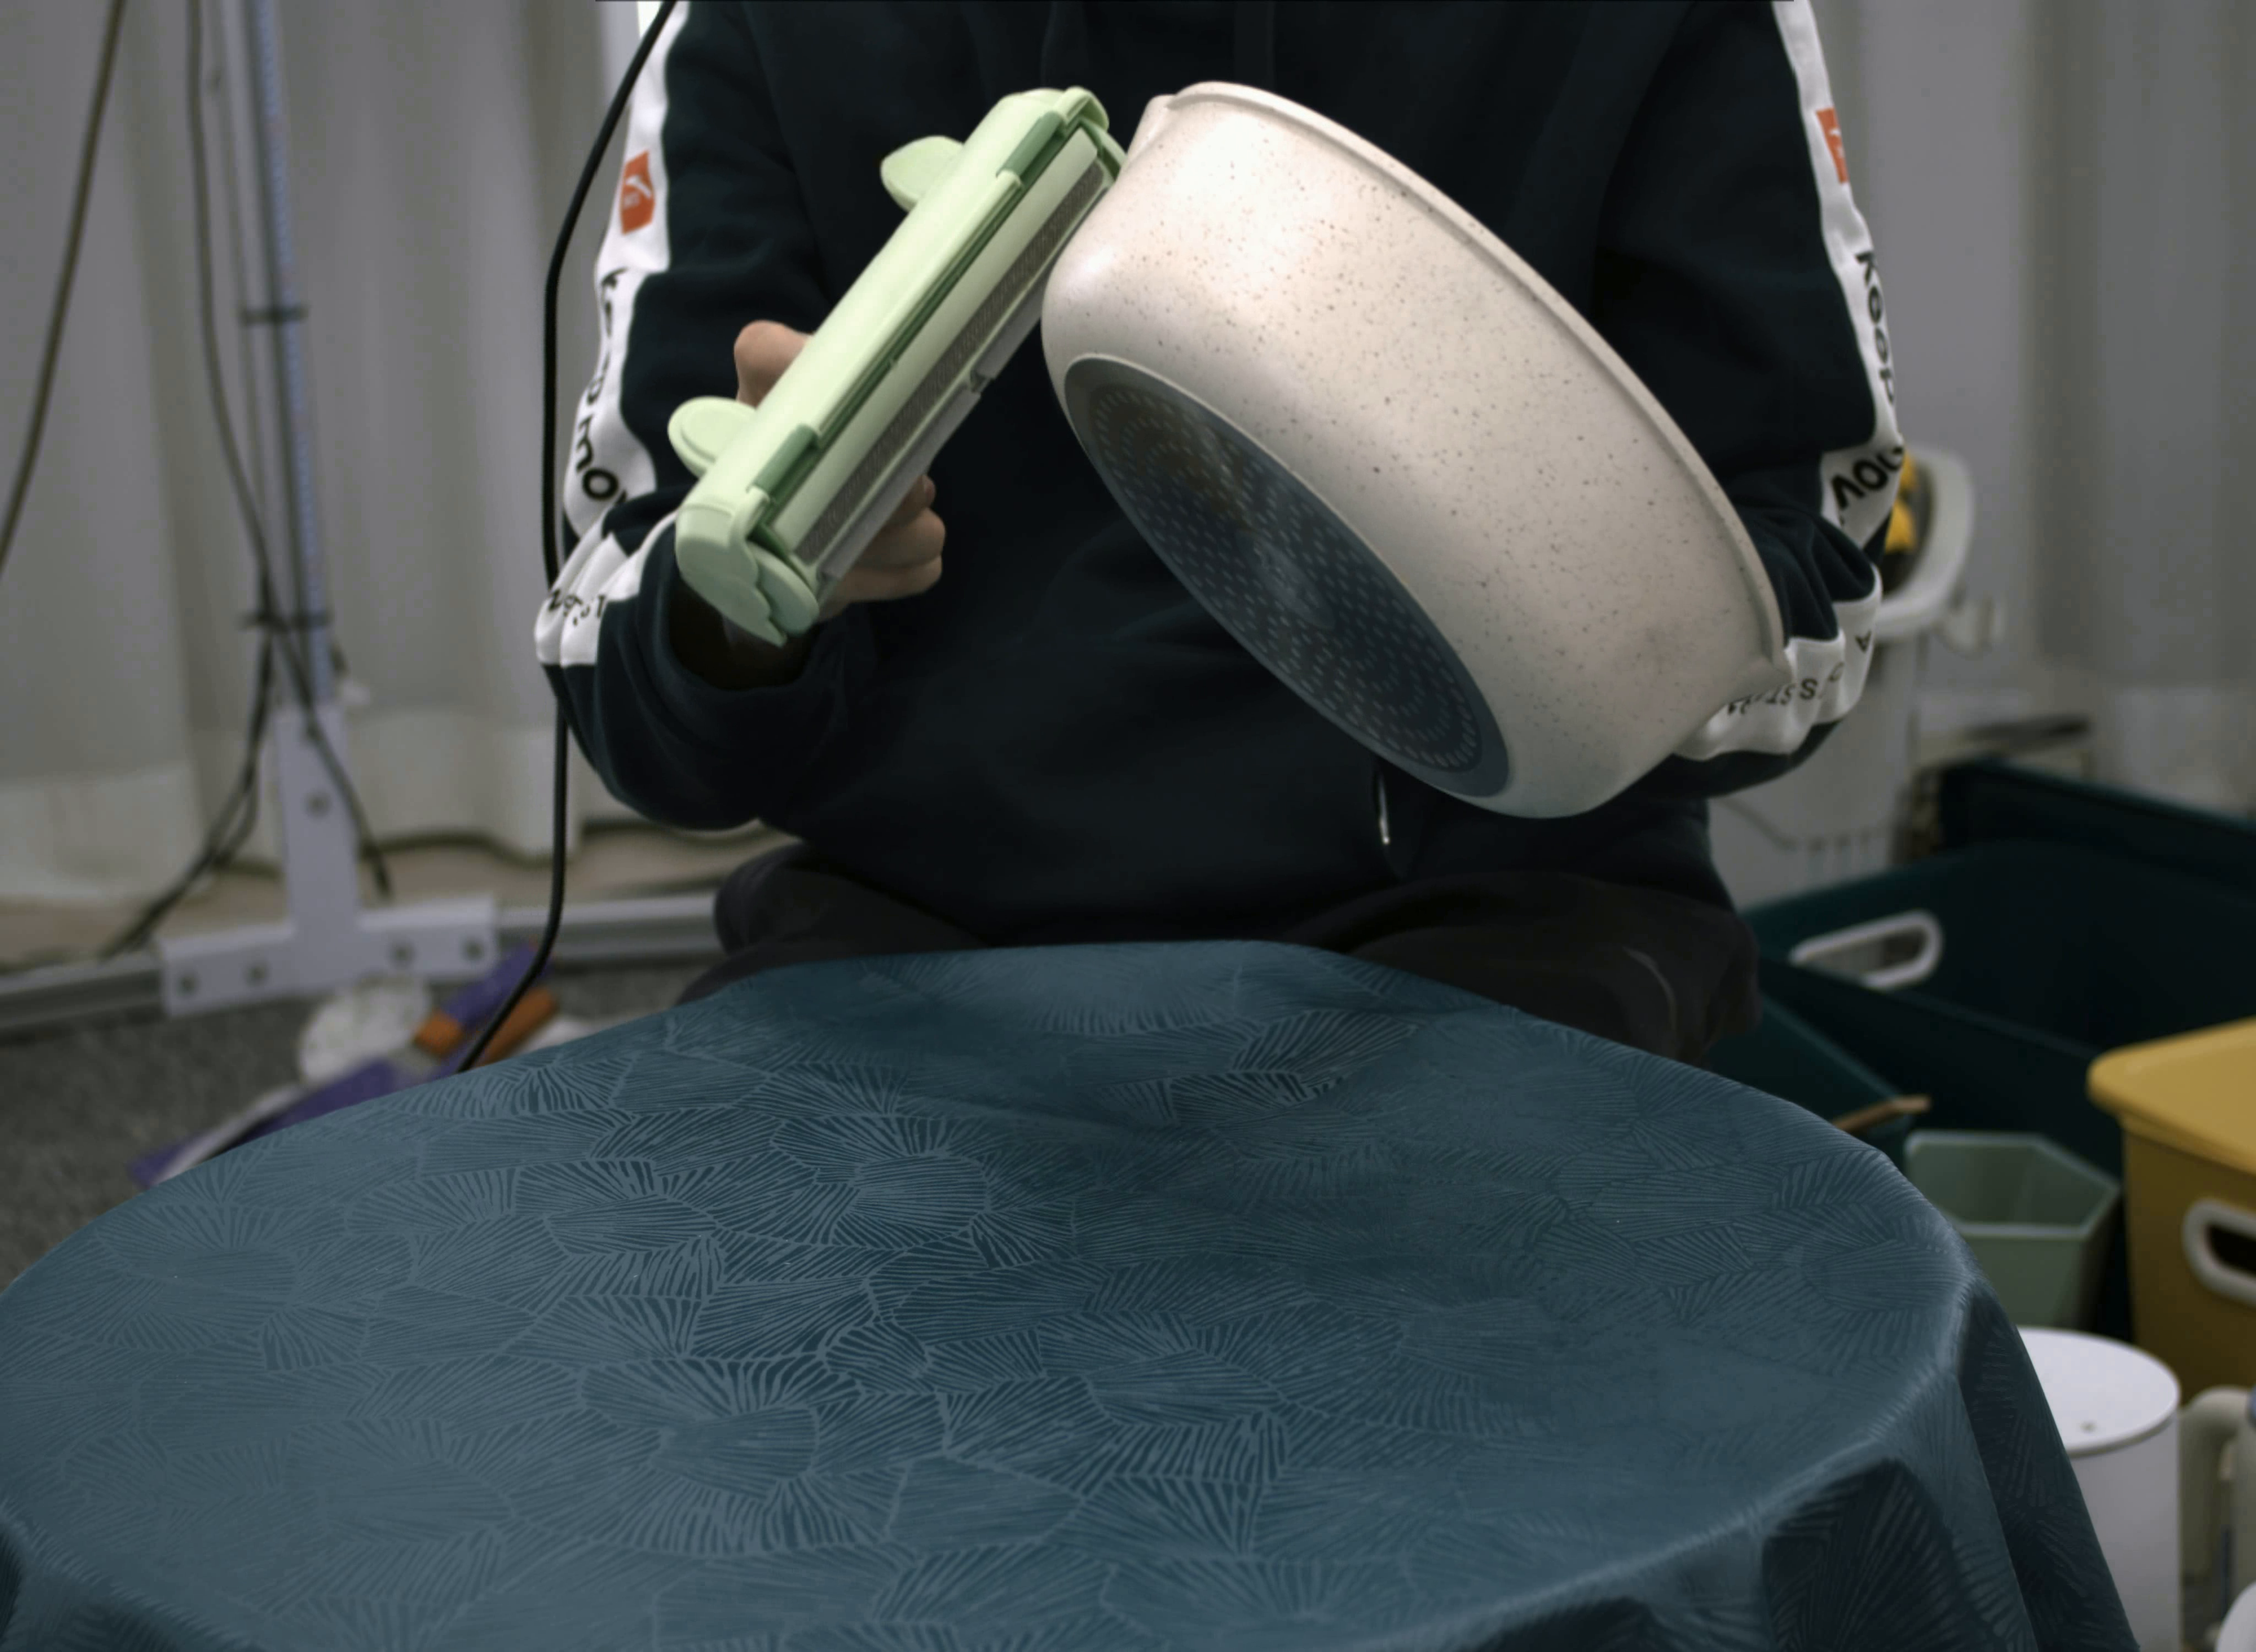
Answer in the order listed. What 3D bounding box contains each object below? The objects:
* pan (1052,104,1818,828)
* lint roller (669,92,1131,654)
[{"bbox_3d":[0.083,-0.078,1.728,0.264,0.102,0.432,40,-13,10],"label":"pan"},{"bbox_3d":[-0.091,-0.134,1.754,0.200,0.082,0.182,-55,6,-23],"label":"lint roller"}]
